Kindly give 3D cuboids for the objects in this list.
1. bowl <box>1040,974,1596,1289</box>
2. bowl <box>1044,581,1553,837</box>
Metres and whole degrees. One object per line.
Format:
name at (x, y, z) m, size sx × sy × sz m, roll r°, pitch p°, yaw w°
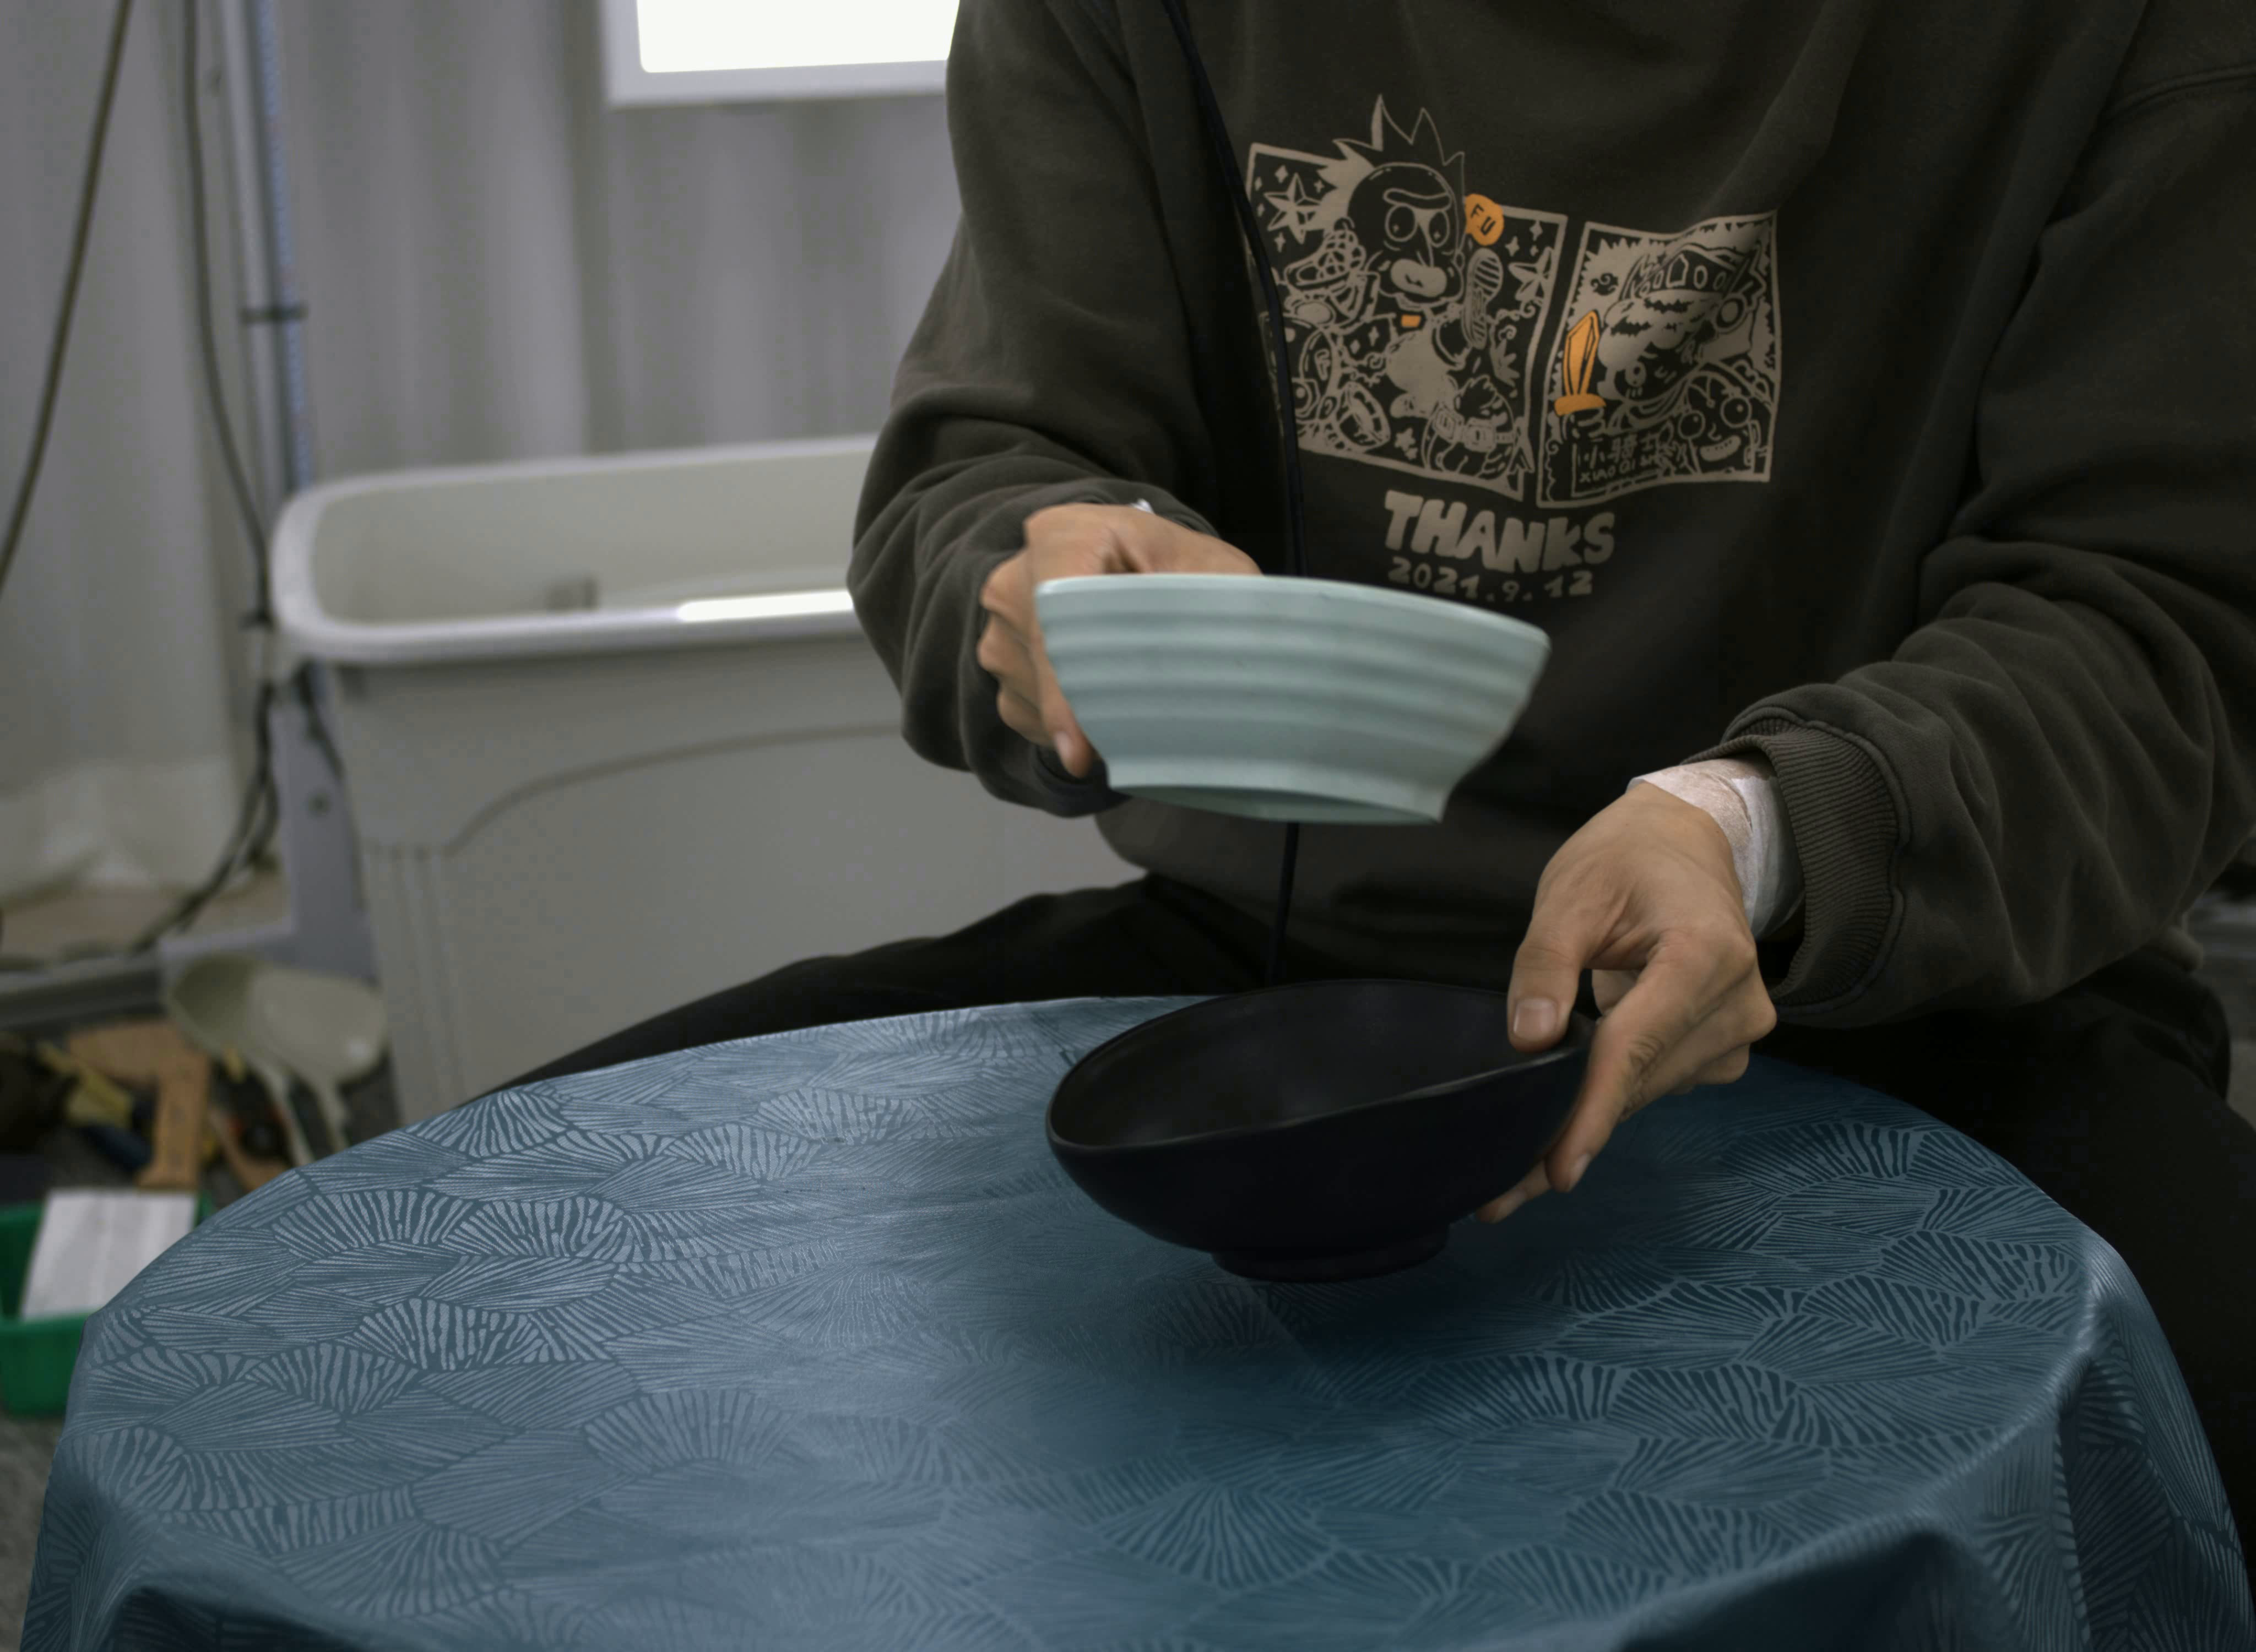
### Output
bowl at (0.058, 0.094, 1.598) m, size 0.169 × 0.066 × 0.138 m, roll -12°, pitch 14°, yaw -26°
bowl at (0.046, -0.032, 1.602) m, size 0.151 × 0.059 × 0.151 m, roll 8°, pitch -3°, yaw 0°
